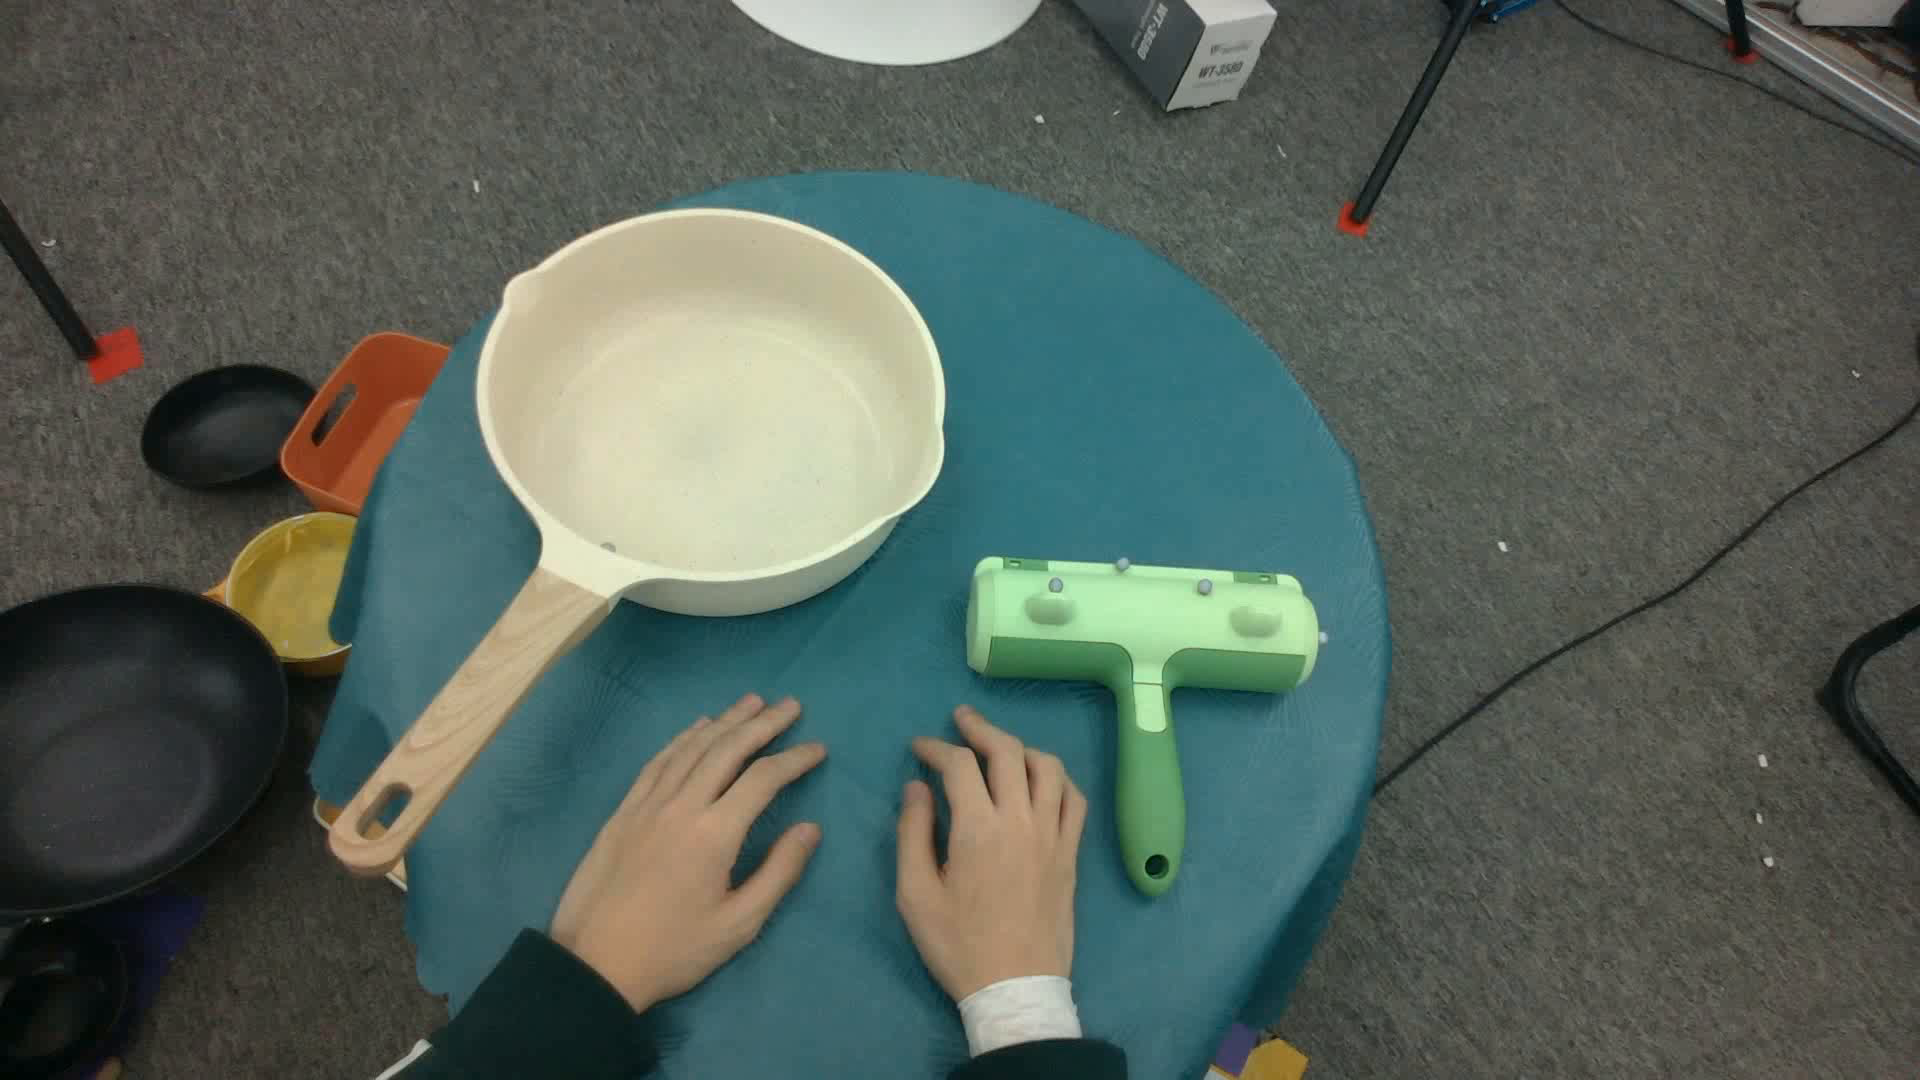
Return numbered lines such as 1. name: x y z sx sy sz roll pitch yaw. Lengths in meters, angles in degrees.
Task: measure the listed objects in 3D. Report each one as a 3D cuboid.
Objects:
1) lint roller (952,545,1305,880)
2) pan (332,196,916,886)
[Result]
1. lint roller: 0.098 0.083 0.744 0.199 0.082 0.184 3 54 -8
2. pan: -0.188 -0.006 0.735 0.263 0.101 0.437 24 59 3
